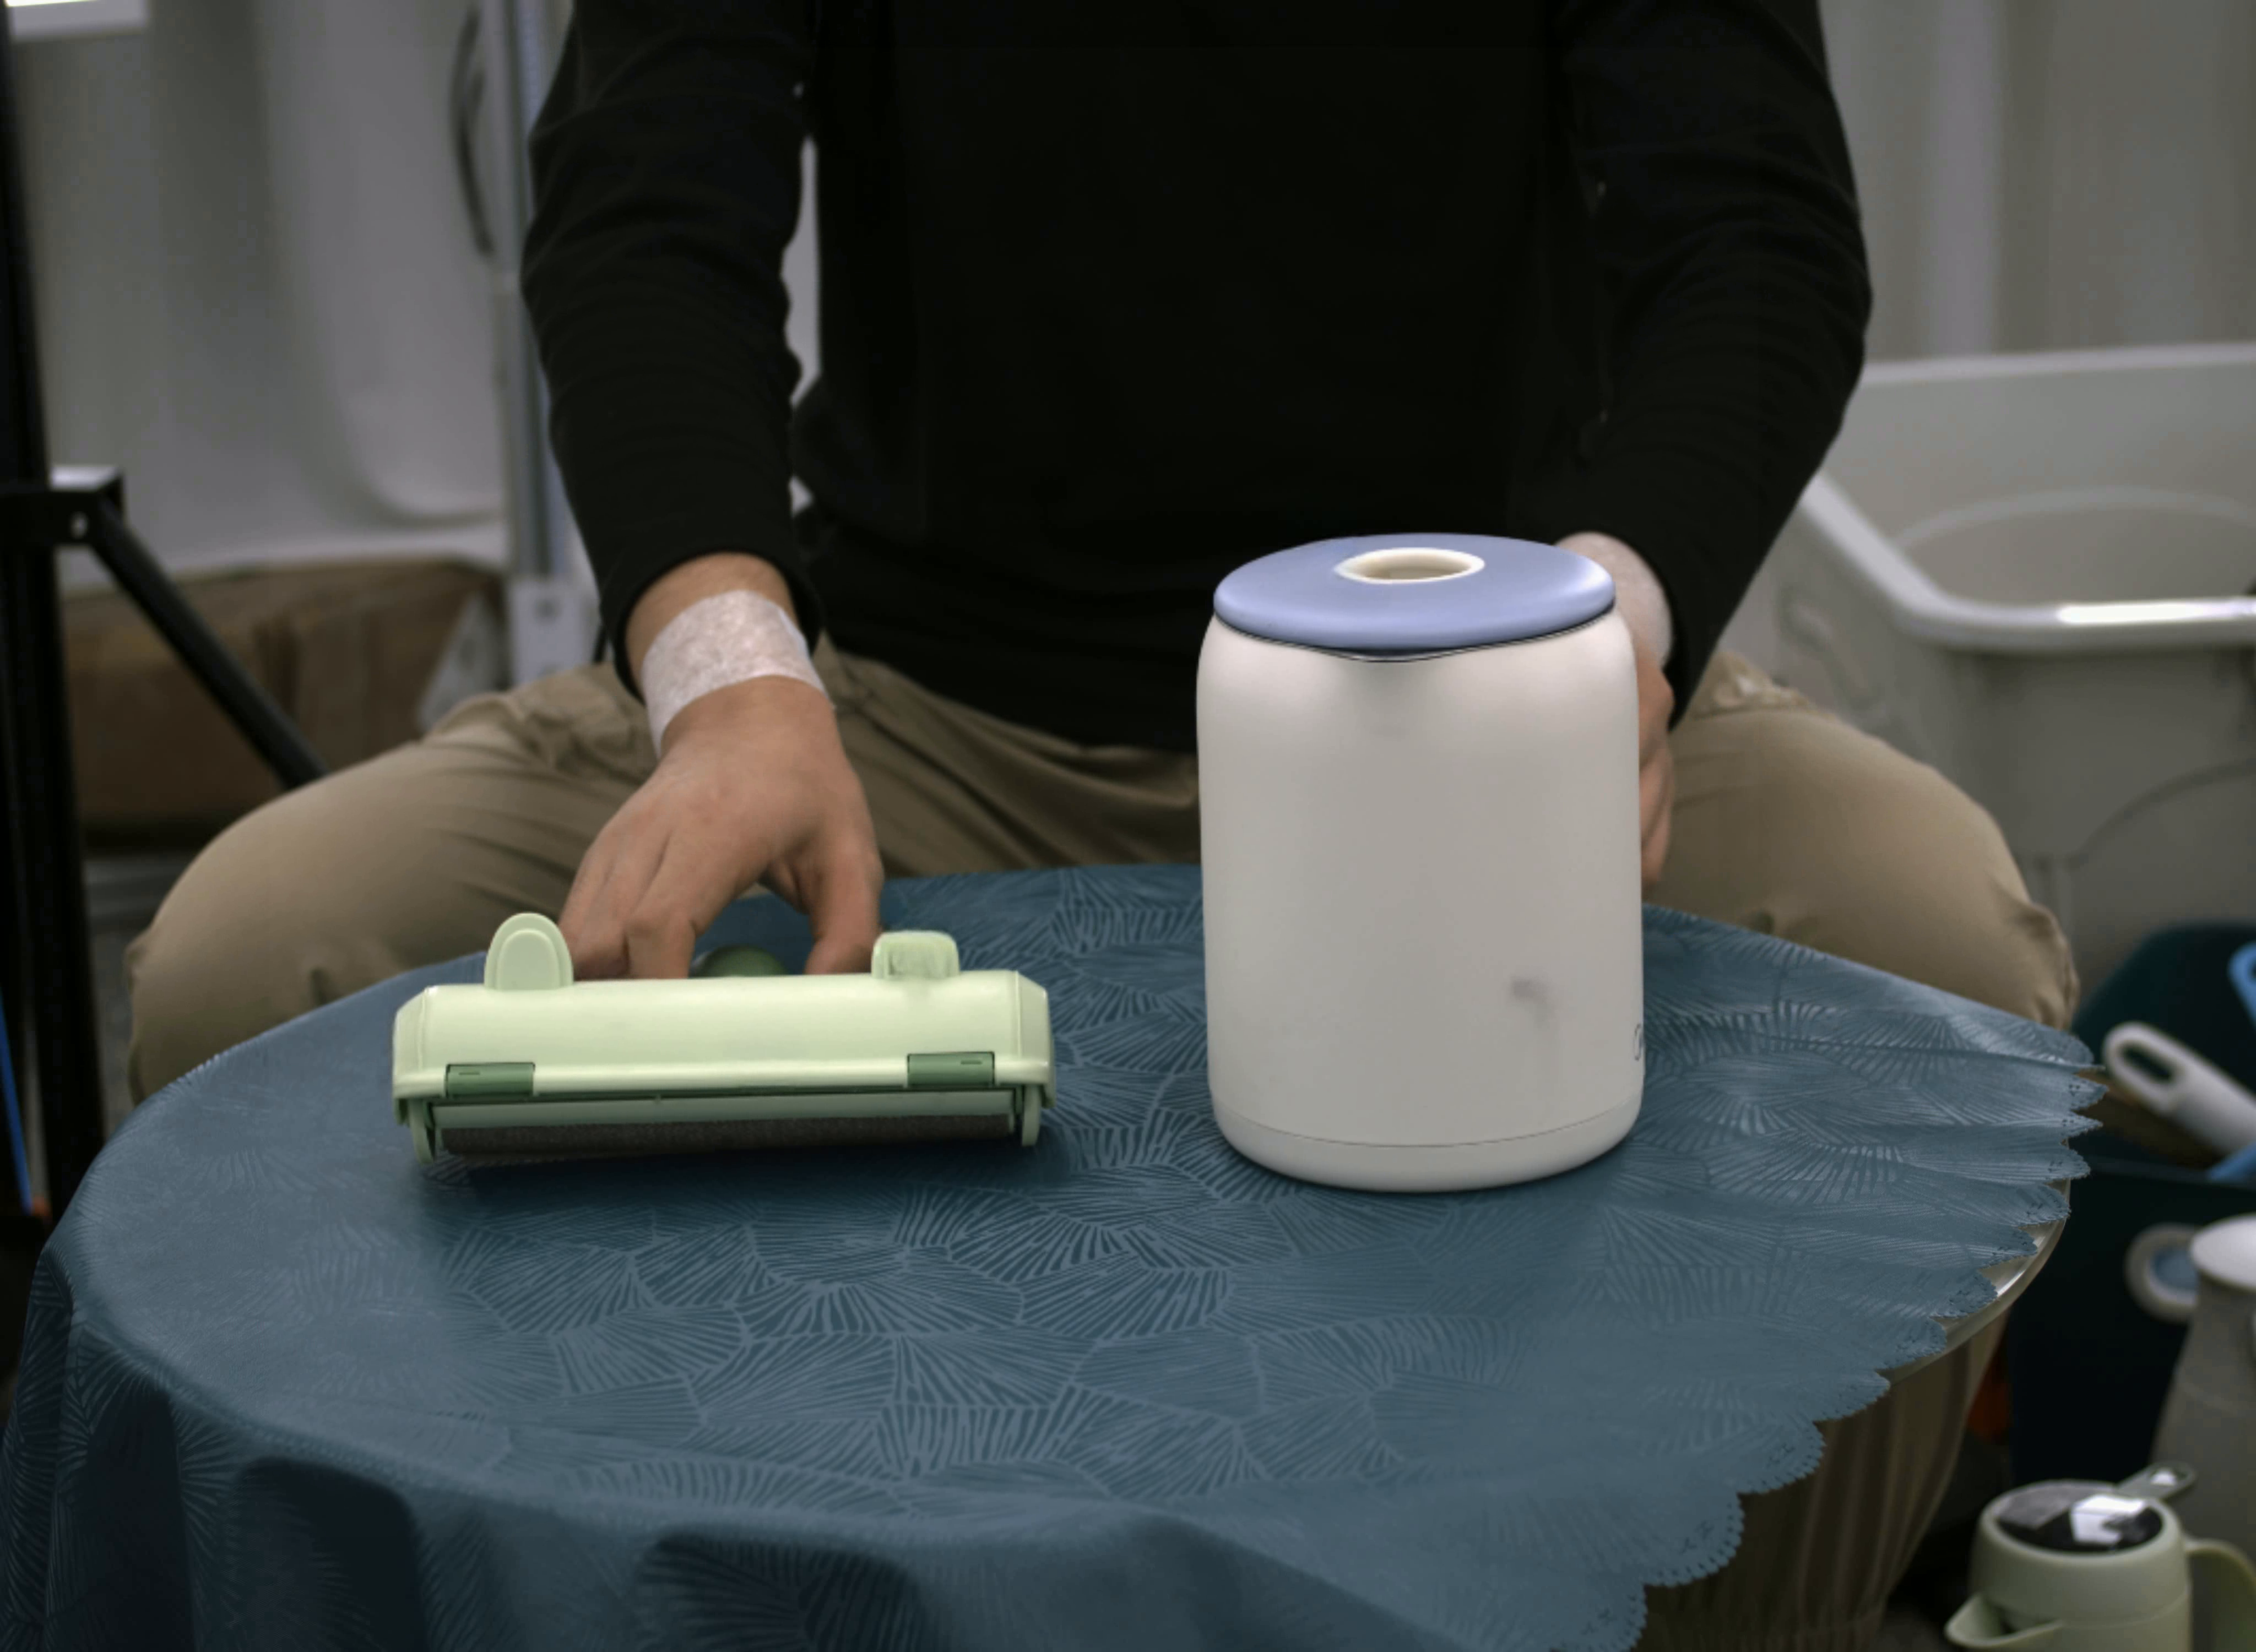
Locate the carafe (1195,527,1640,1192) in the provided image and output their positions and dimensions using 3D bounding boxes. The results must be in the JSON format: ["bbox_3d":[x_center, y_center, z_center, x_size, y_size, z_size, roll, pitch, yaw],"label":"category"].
[{"bbox_3d":[0.090,0.003,1.599,0.132,0.182,0.190,1,13,8],"label":"carafe"}]

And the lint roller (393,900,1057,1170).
[{"bbox_3d":[-0.123,0.049,1.647,0.197,0.082,0.184,-1,18,-1],"label":"lint roller"}]
